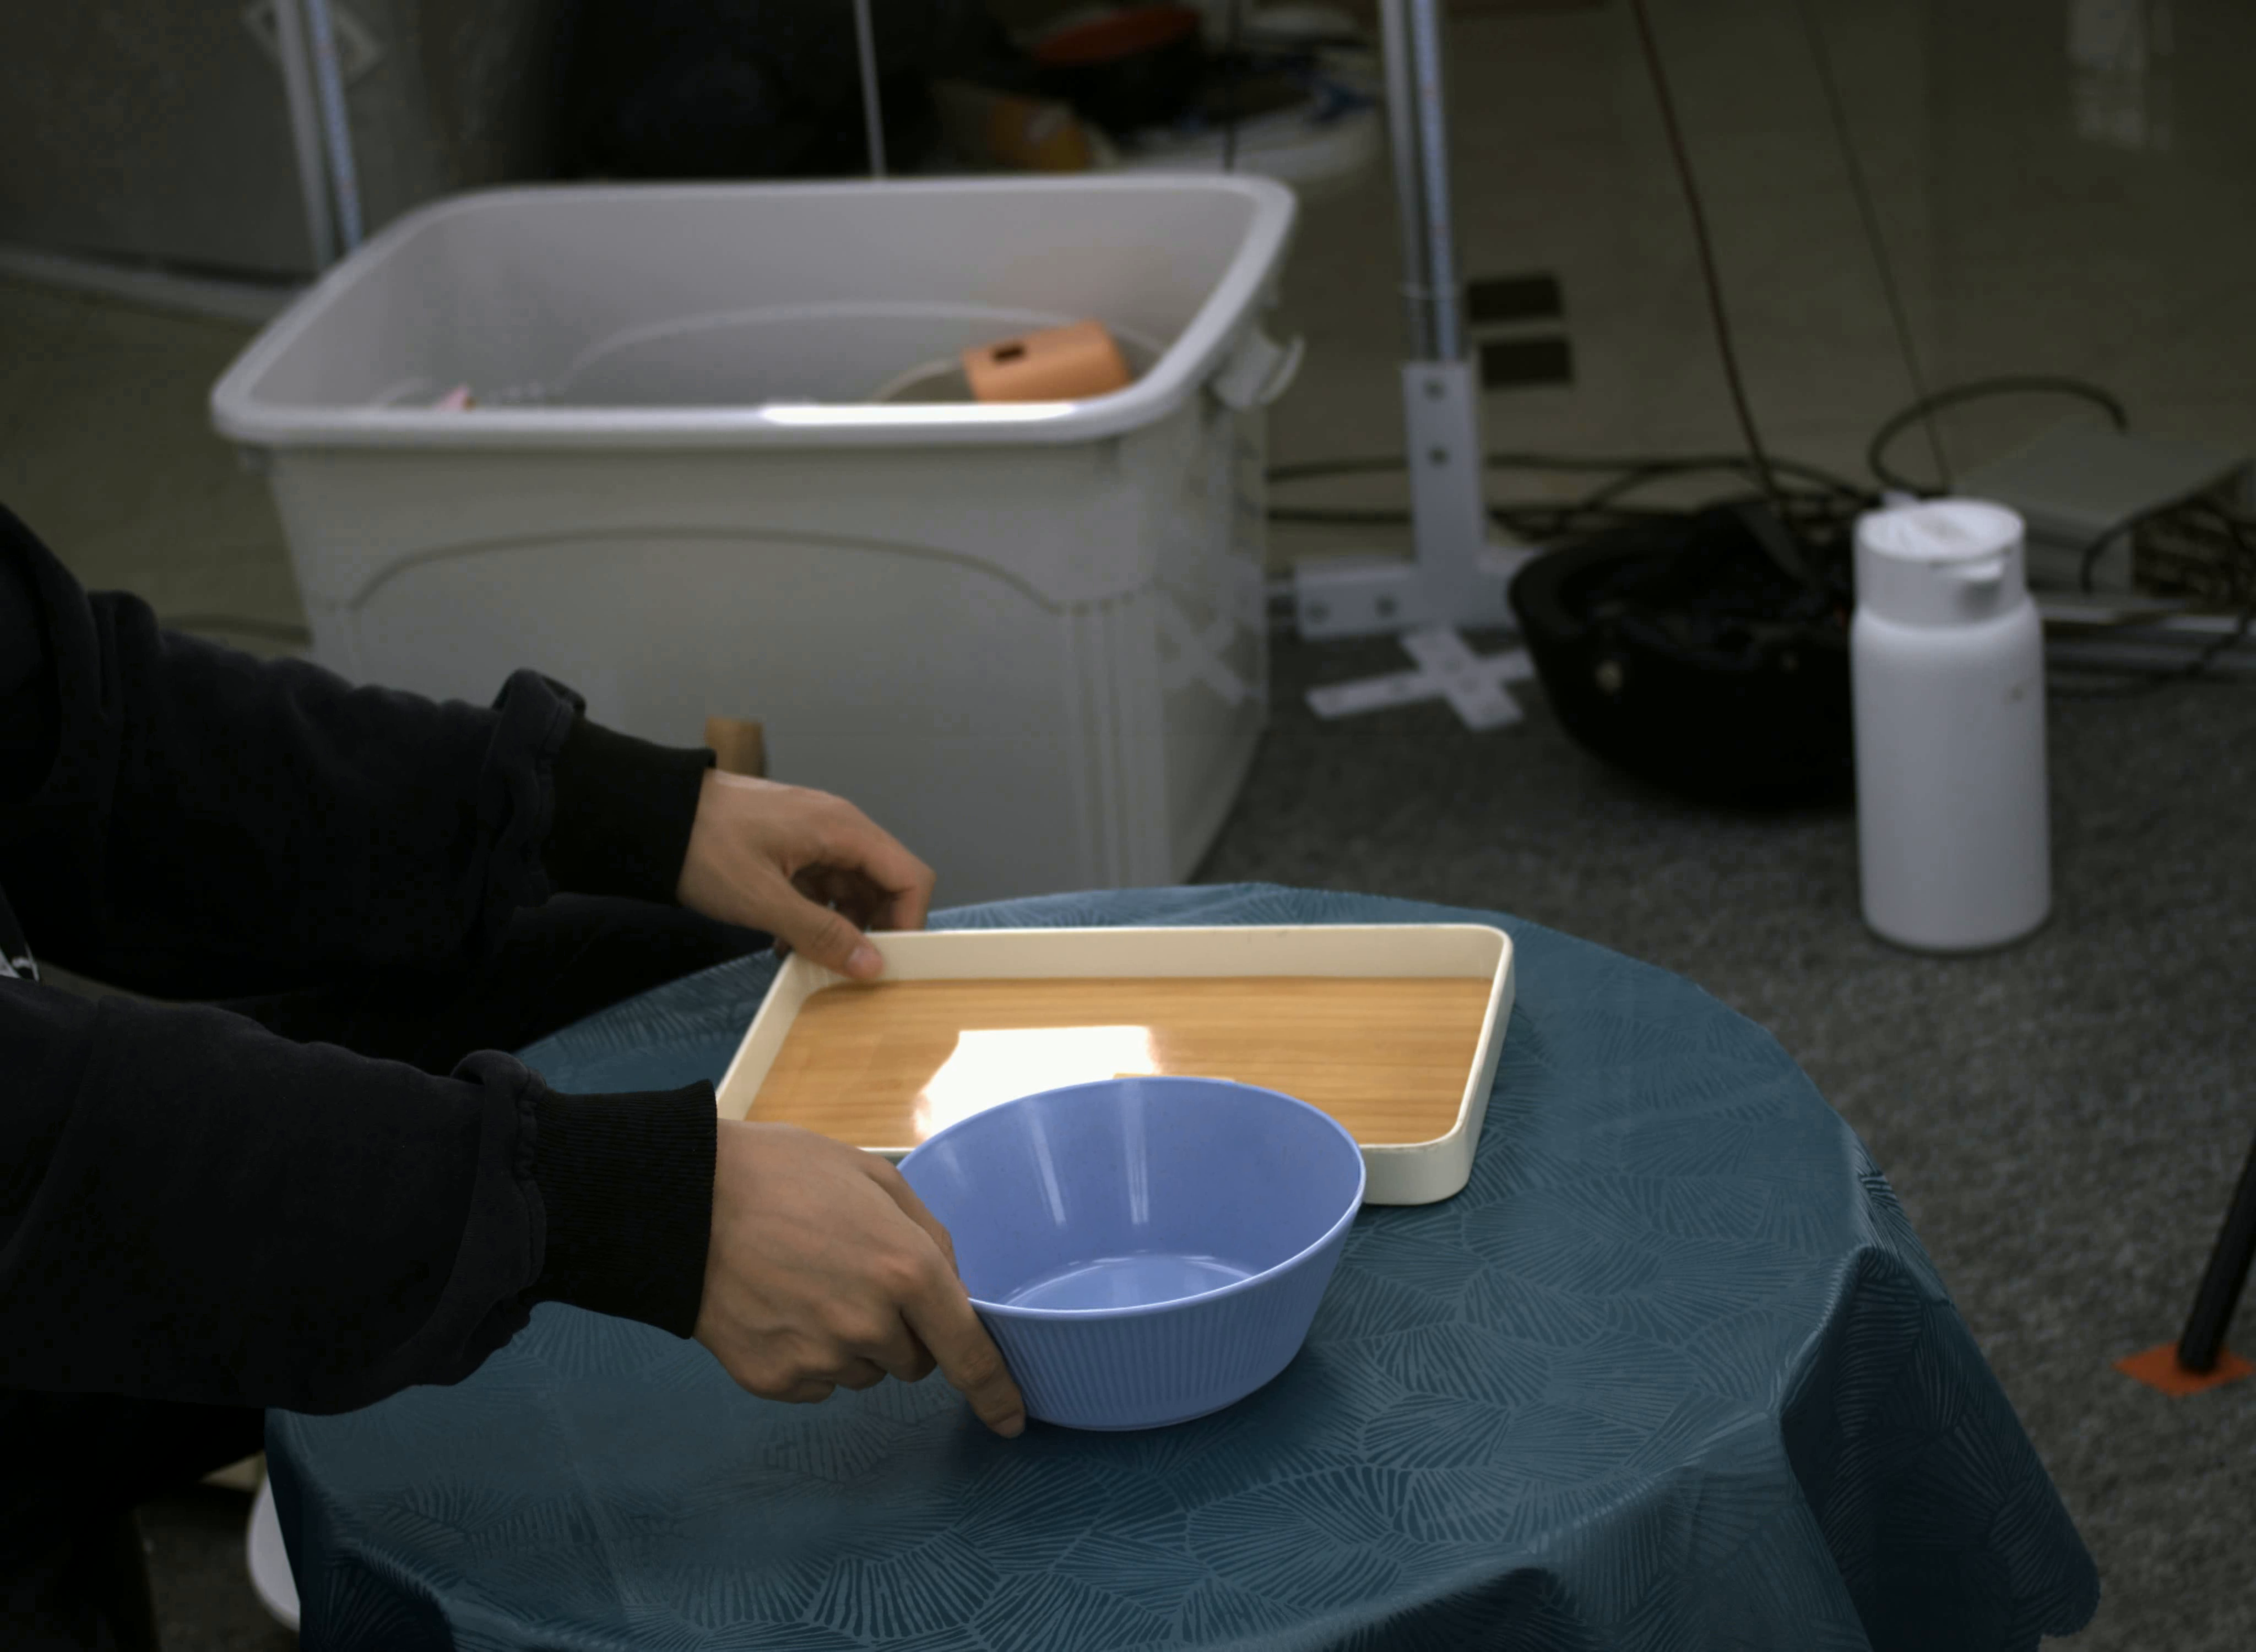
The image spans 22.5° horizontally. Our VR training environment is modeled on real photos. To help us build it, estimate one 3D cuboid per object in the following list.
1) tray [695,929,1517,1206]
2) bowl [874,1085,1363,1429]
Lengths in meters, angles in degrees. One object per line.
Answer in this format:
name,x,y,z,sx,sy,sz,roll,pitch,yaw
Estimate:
tray,-0.005,0.094,2.220,0.300,0.028,0.189,-1,25,12
bowl,-0.001,0.159,2.024,0.176,0.071,0.173,-5,24,2
